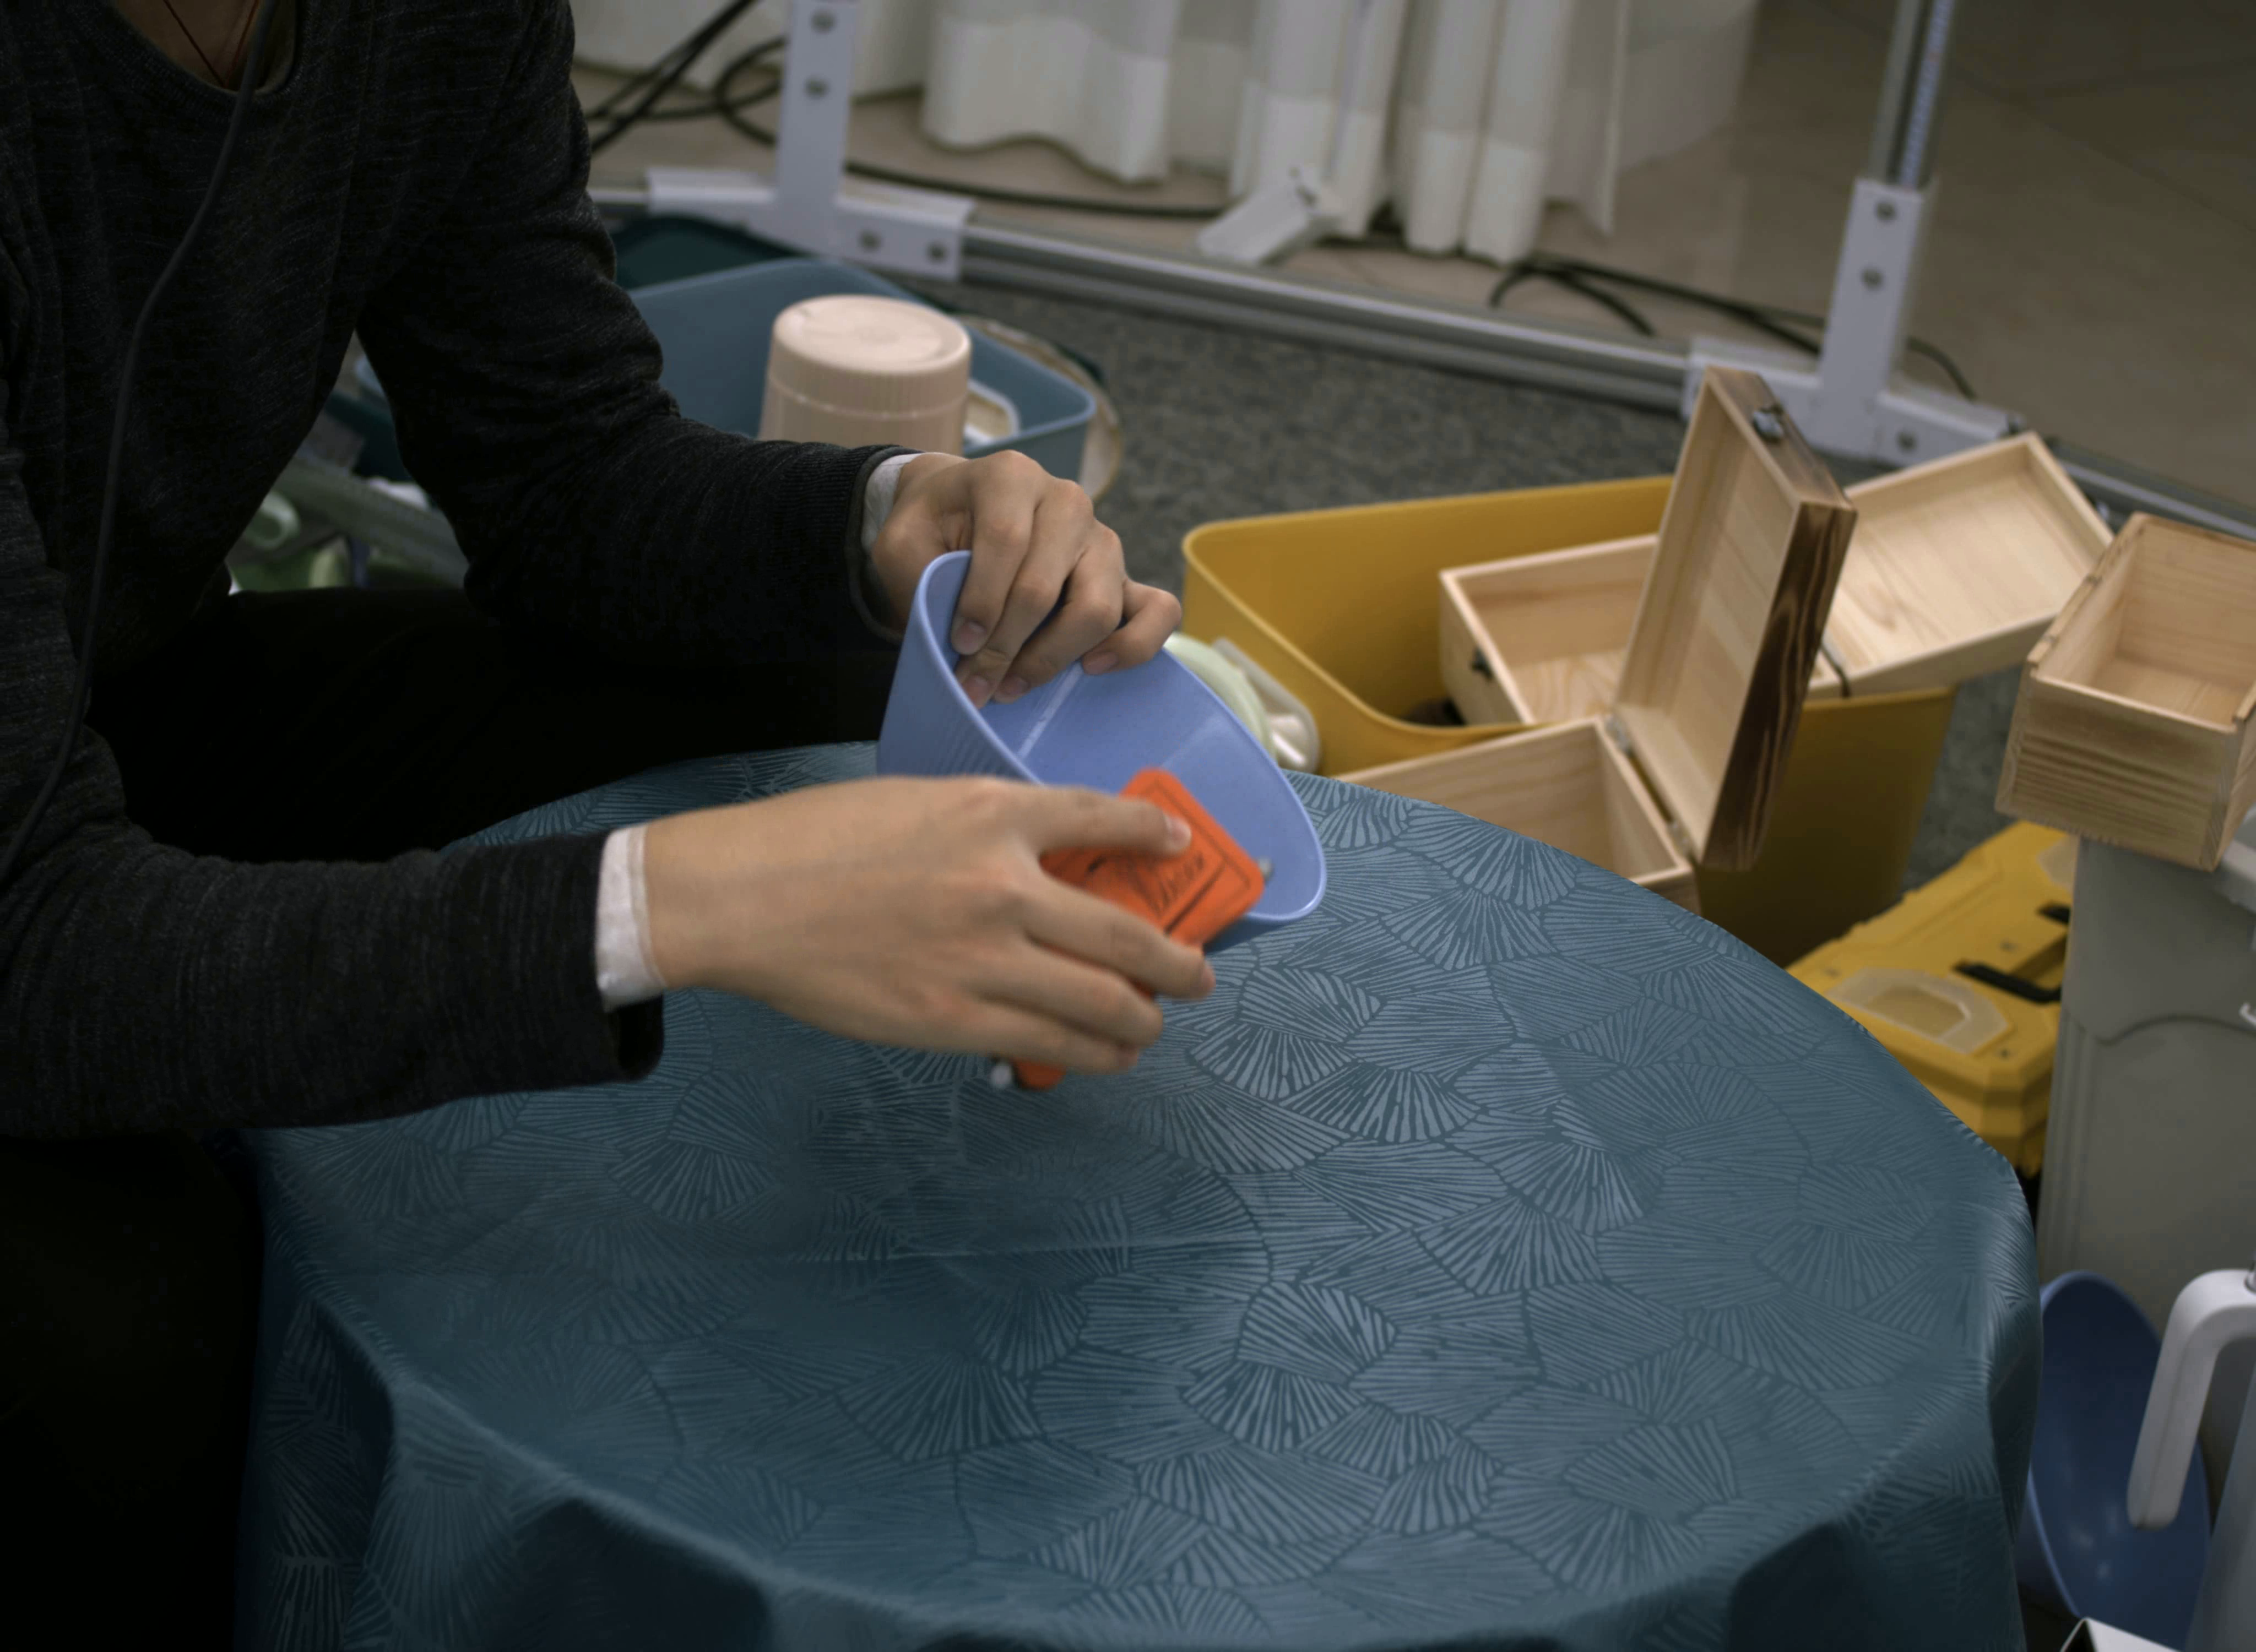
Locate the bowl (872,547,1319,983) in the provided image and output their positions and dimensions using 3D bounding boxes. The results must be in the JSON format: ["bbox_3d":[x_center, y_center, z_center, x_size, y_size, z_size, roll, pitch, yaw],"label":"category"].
[{"bbox_3d":[-0.022,-0.010,1.815,0.175,0.070,0.177,34,23,-17],"label":"bowl"}]

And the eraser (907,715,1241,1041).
[{"bbox_3d":[-0.016,0.016,1.700,0.059,0.023,0.108,44,60,3],"label":"eraser"}]
